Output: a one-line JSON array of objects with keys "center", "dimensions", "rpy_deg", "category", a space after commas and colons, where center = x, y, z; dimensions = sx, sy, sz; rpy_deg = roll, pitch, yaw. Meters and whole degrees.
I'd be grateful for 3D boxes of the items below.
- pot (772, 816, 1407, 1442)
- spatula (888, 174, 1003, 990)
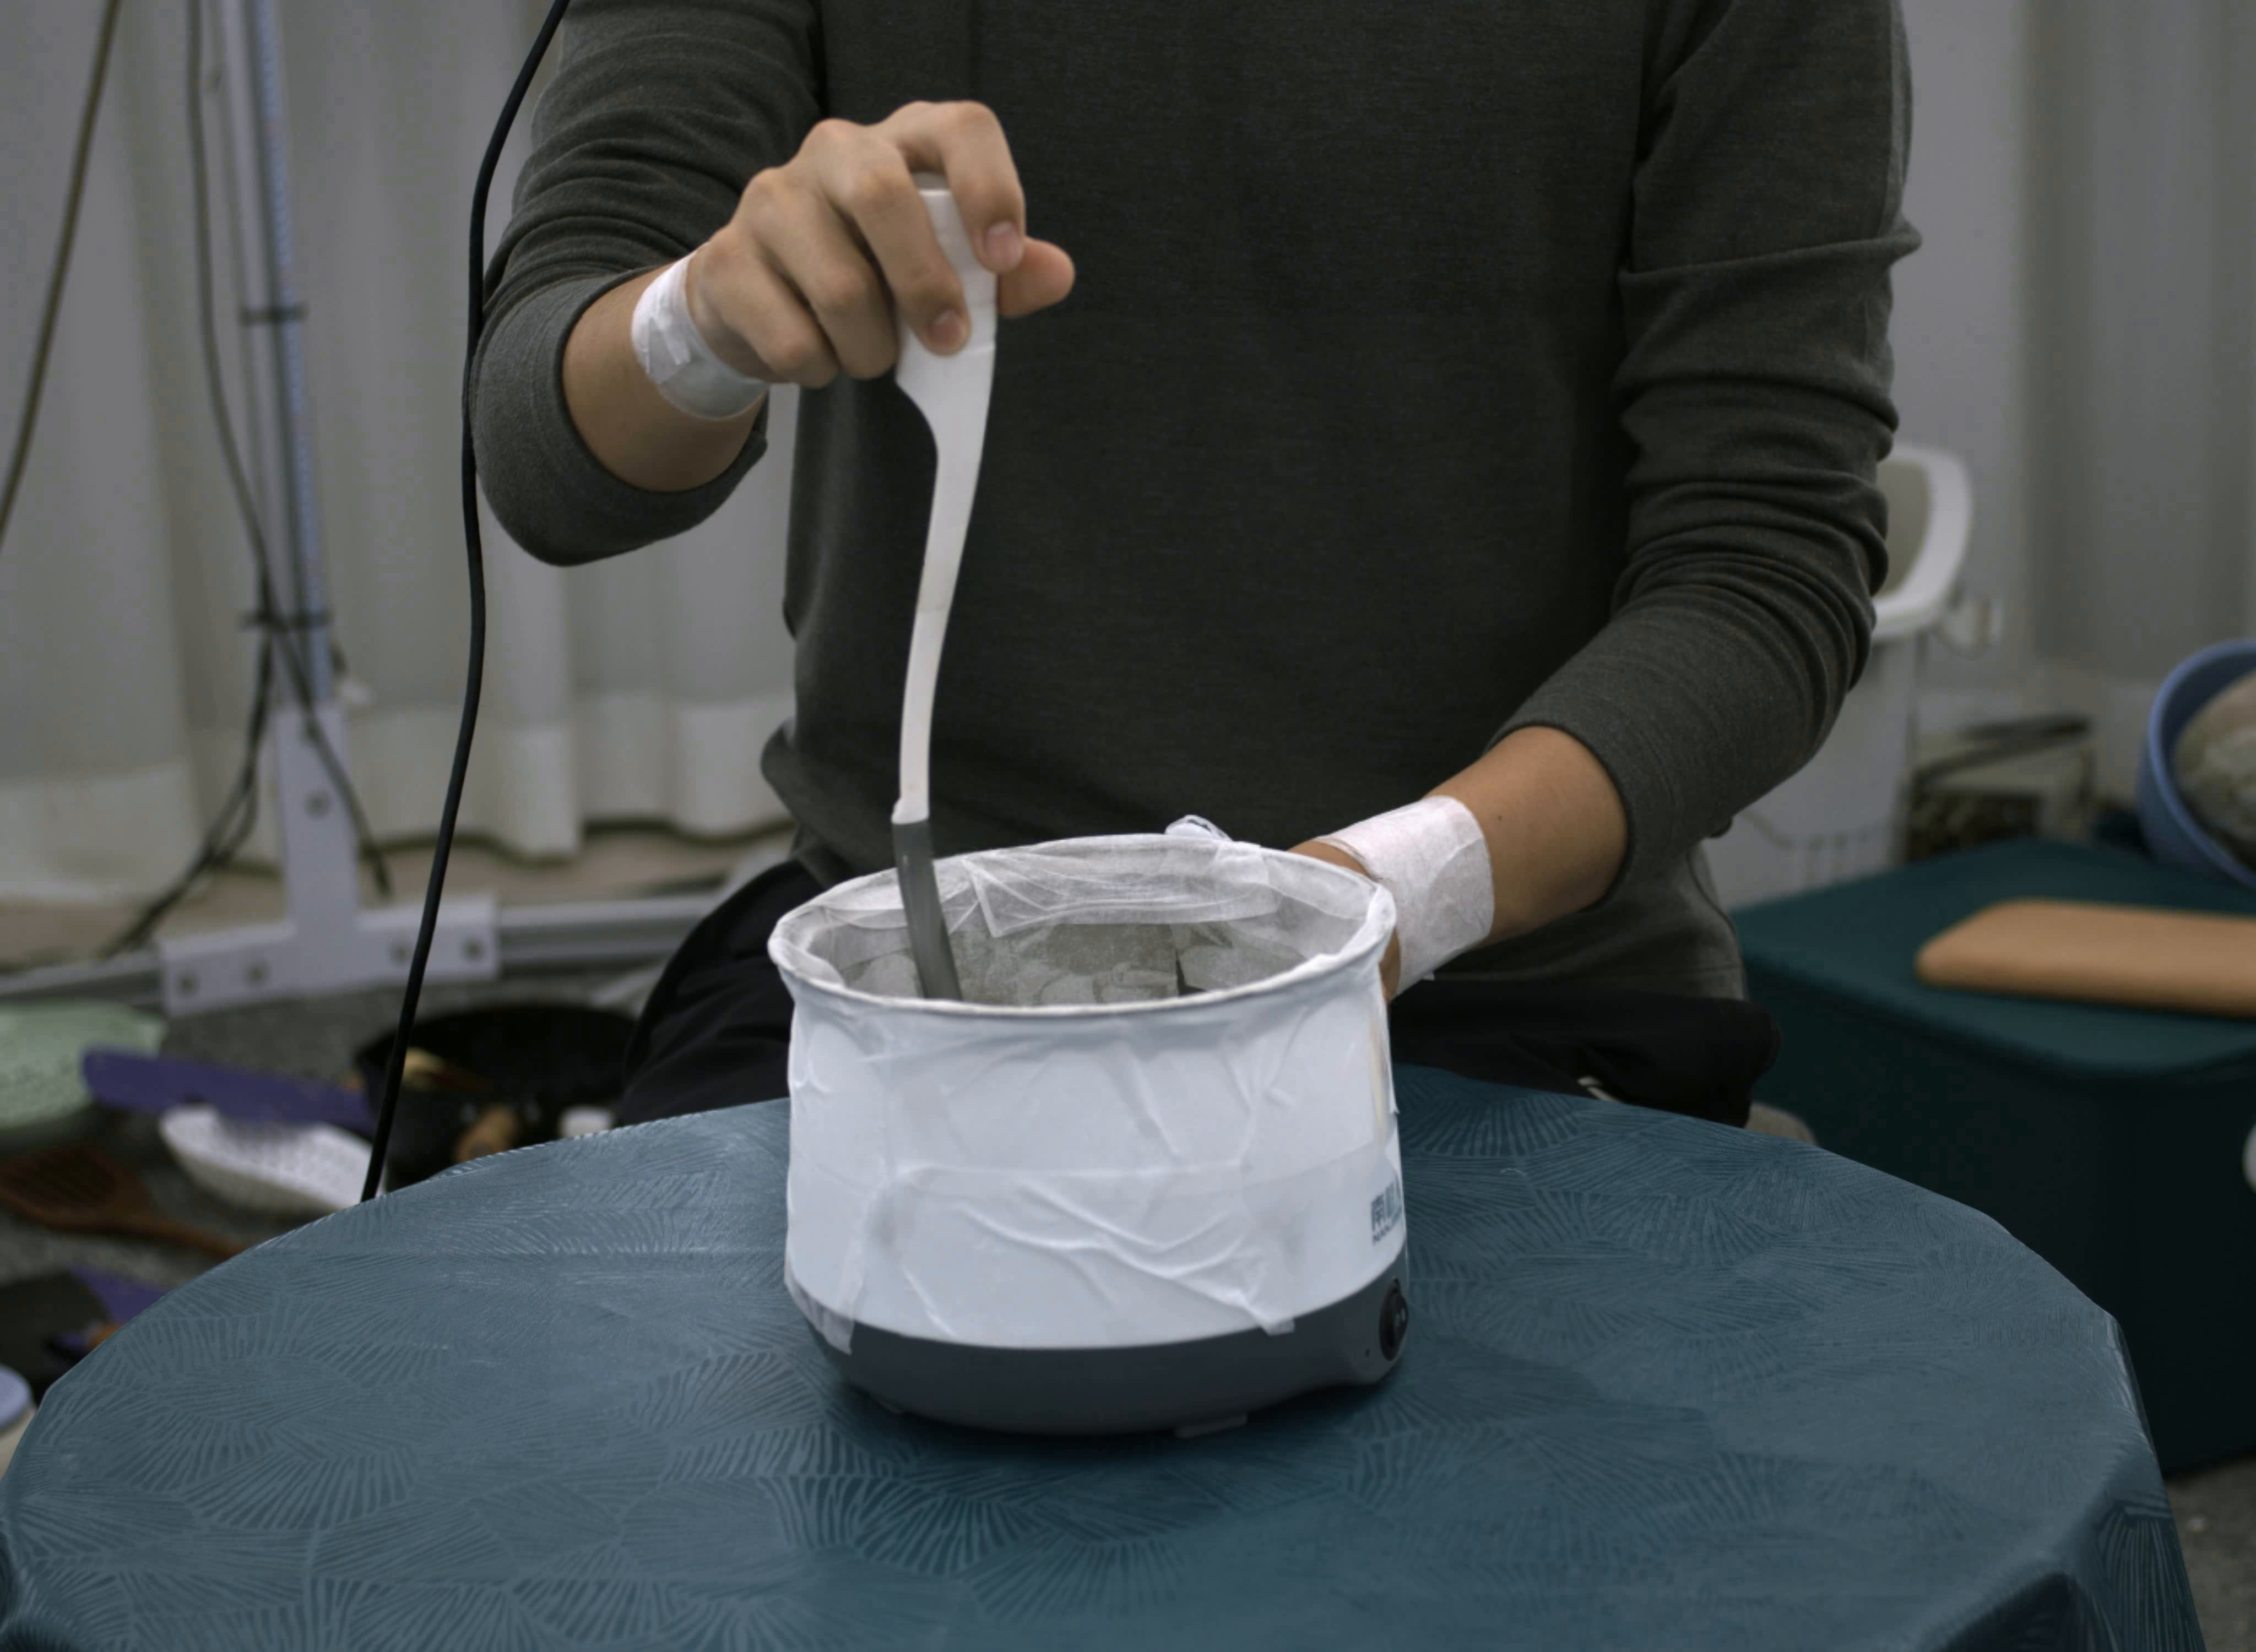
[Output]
[{"center": [-0.001, 0.081, 1.581], "dimensions": [0.179, 0.136, 0.234], "rpy_deg": [2, 15, 18], "category": "pot"}, {"center": [-0.049, -0.037, 1.527], "dimensions": [0.032, 0.286, 0.059], "rpy_deg": [0, 14, 2], "category": "spatula"}]
